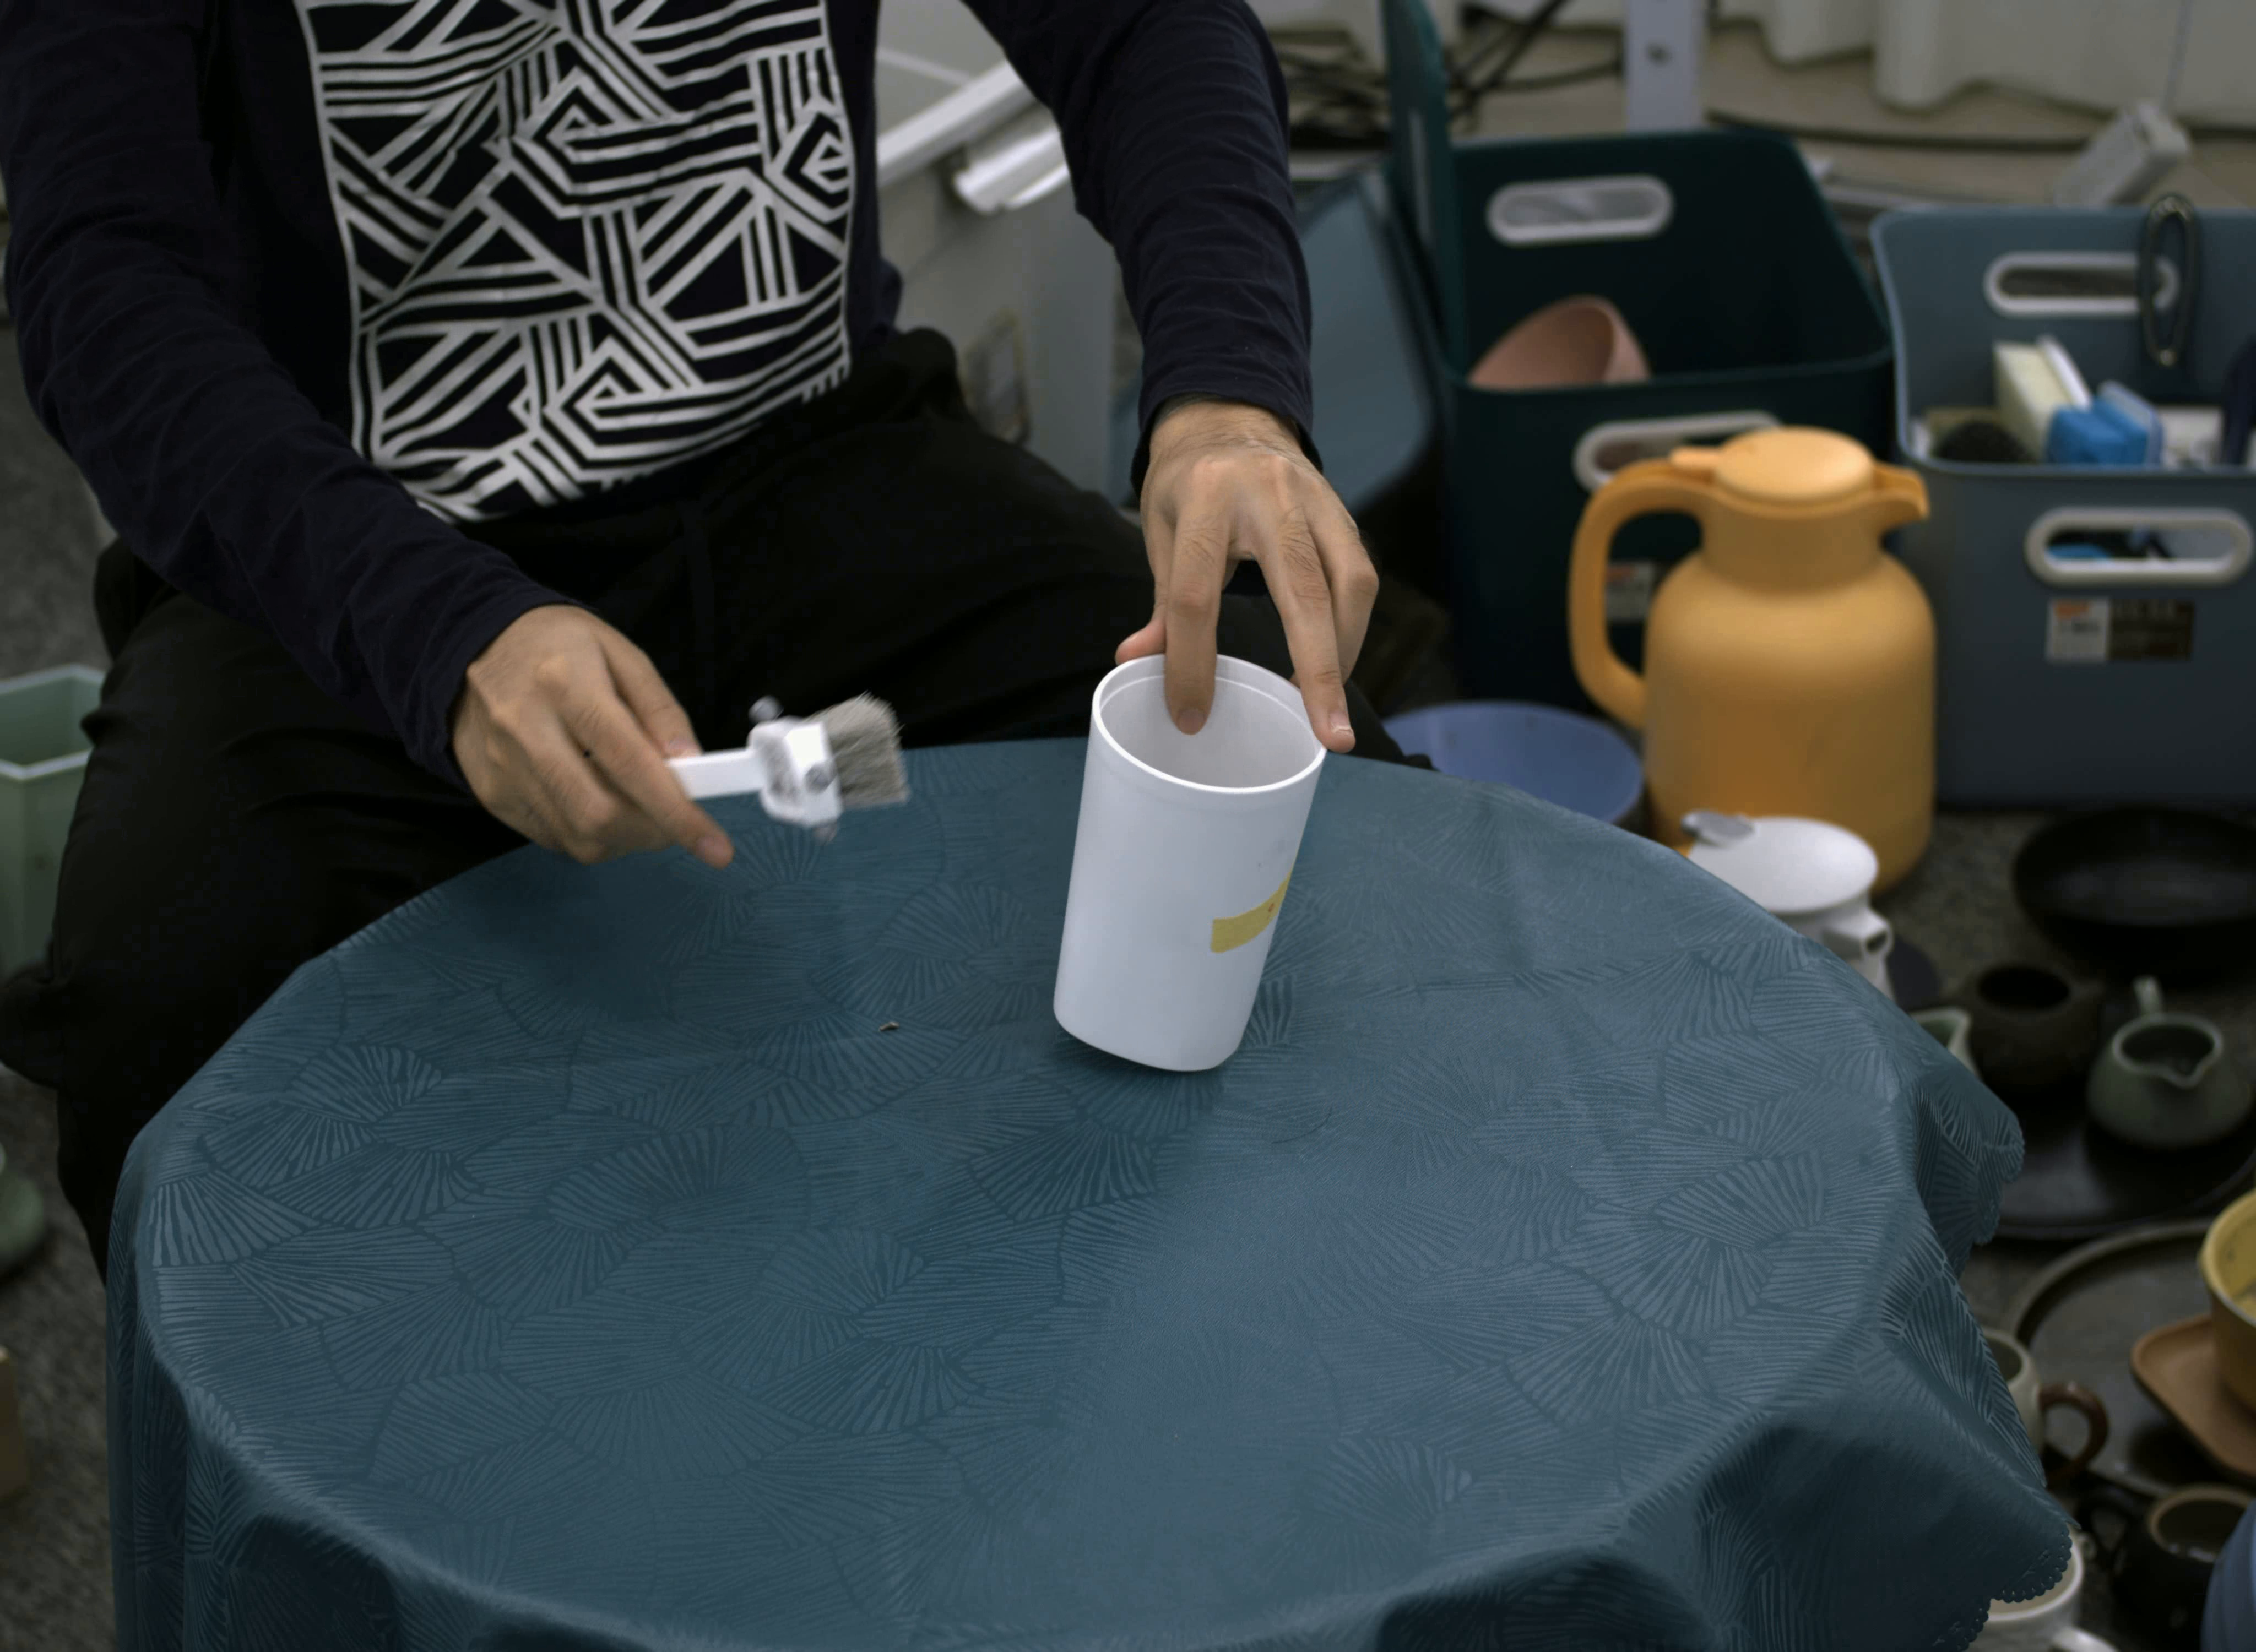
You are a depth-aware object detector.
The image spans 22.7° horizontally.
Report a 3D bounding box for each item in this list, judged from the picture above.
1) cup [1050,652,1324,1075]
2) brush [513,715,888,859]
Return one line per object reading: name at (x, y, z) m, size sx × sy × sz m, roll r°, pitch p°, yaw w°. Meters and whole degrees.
cup at (0.017, 0.015, 1.919) m, size 0.081 × 0.123 × 0.083 m, roll 8°, pitch 32°, yaw -4°
brush at (-0.147, -0.011, 1.951) m, size 0.050 × 0.034 × 0.241 m, roll -21°, pitch 7°, yaw -28°
